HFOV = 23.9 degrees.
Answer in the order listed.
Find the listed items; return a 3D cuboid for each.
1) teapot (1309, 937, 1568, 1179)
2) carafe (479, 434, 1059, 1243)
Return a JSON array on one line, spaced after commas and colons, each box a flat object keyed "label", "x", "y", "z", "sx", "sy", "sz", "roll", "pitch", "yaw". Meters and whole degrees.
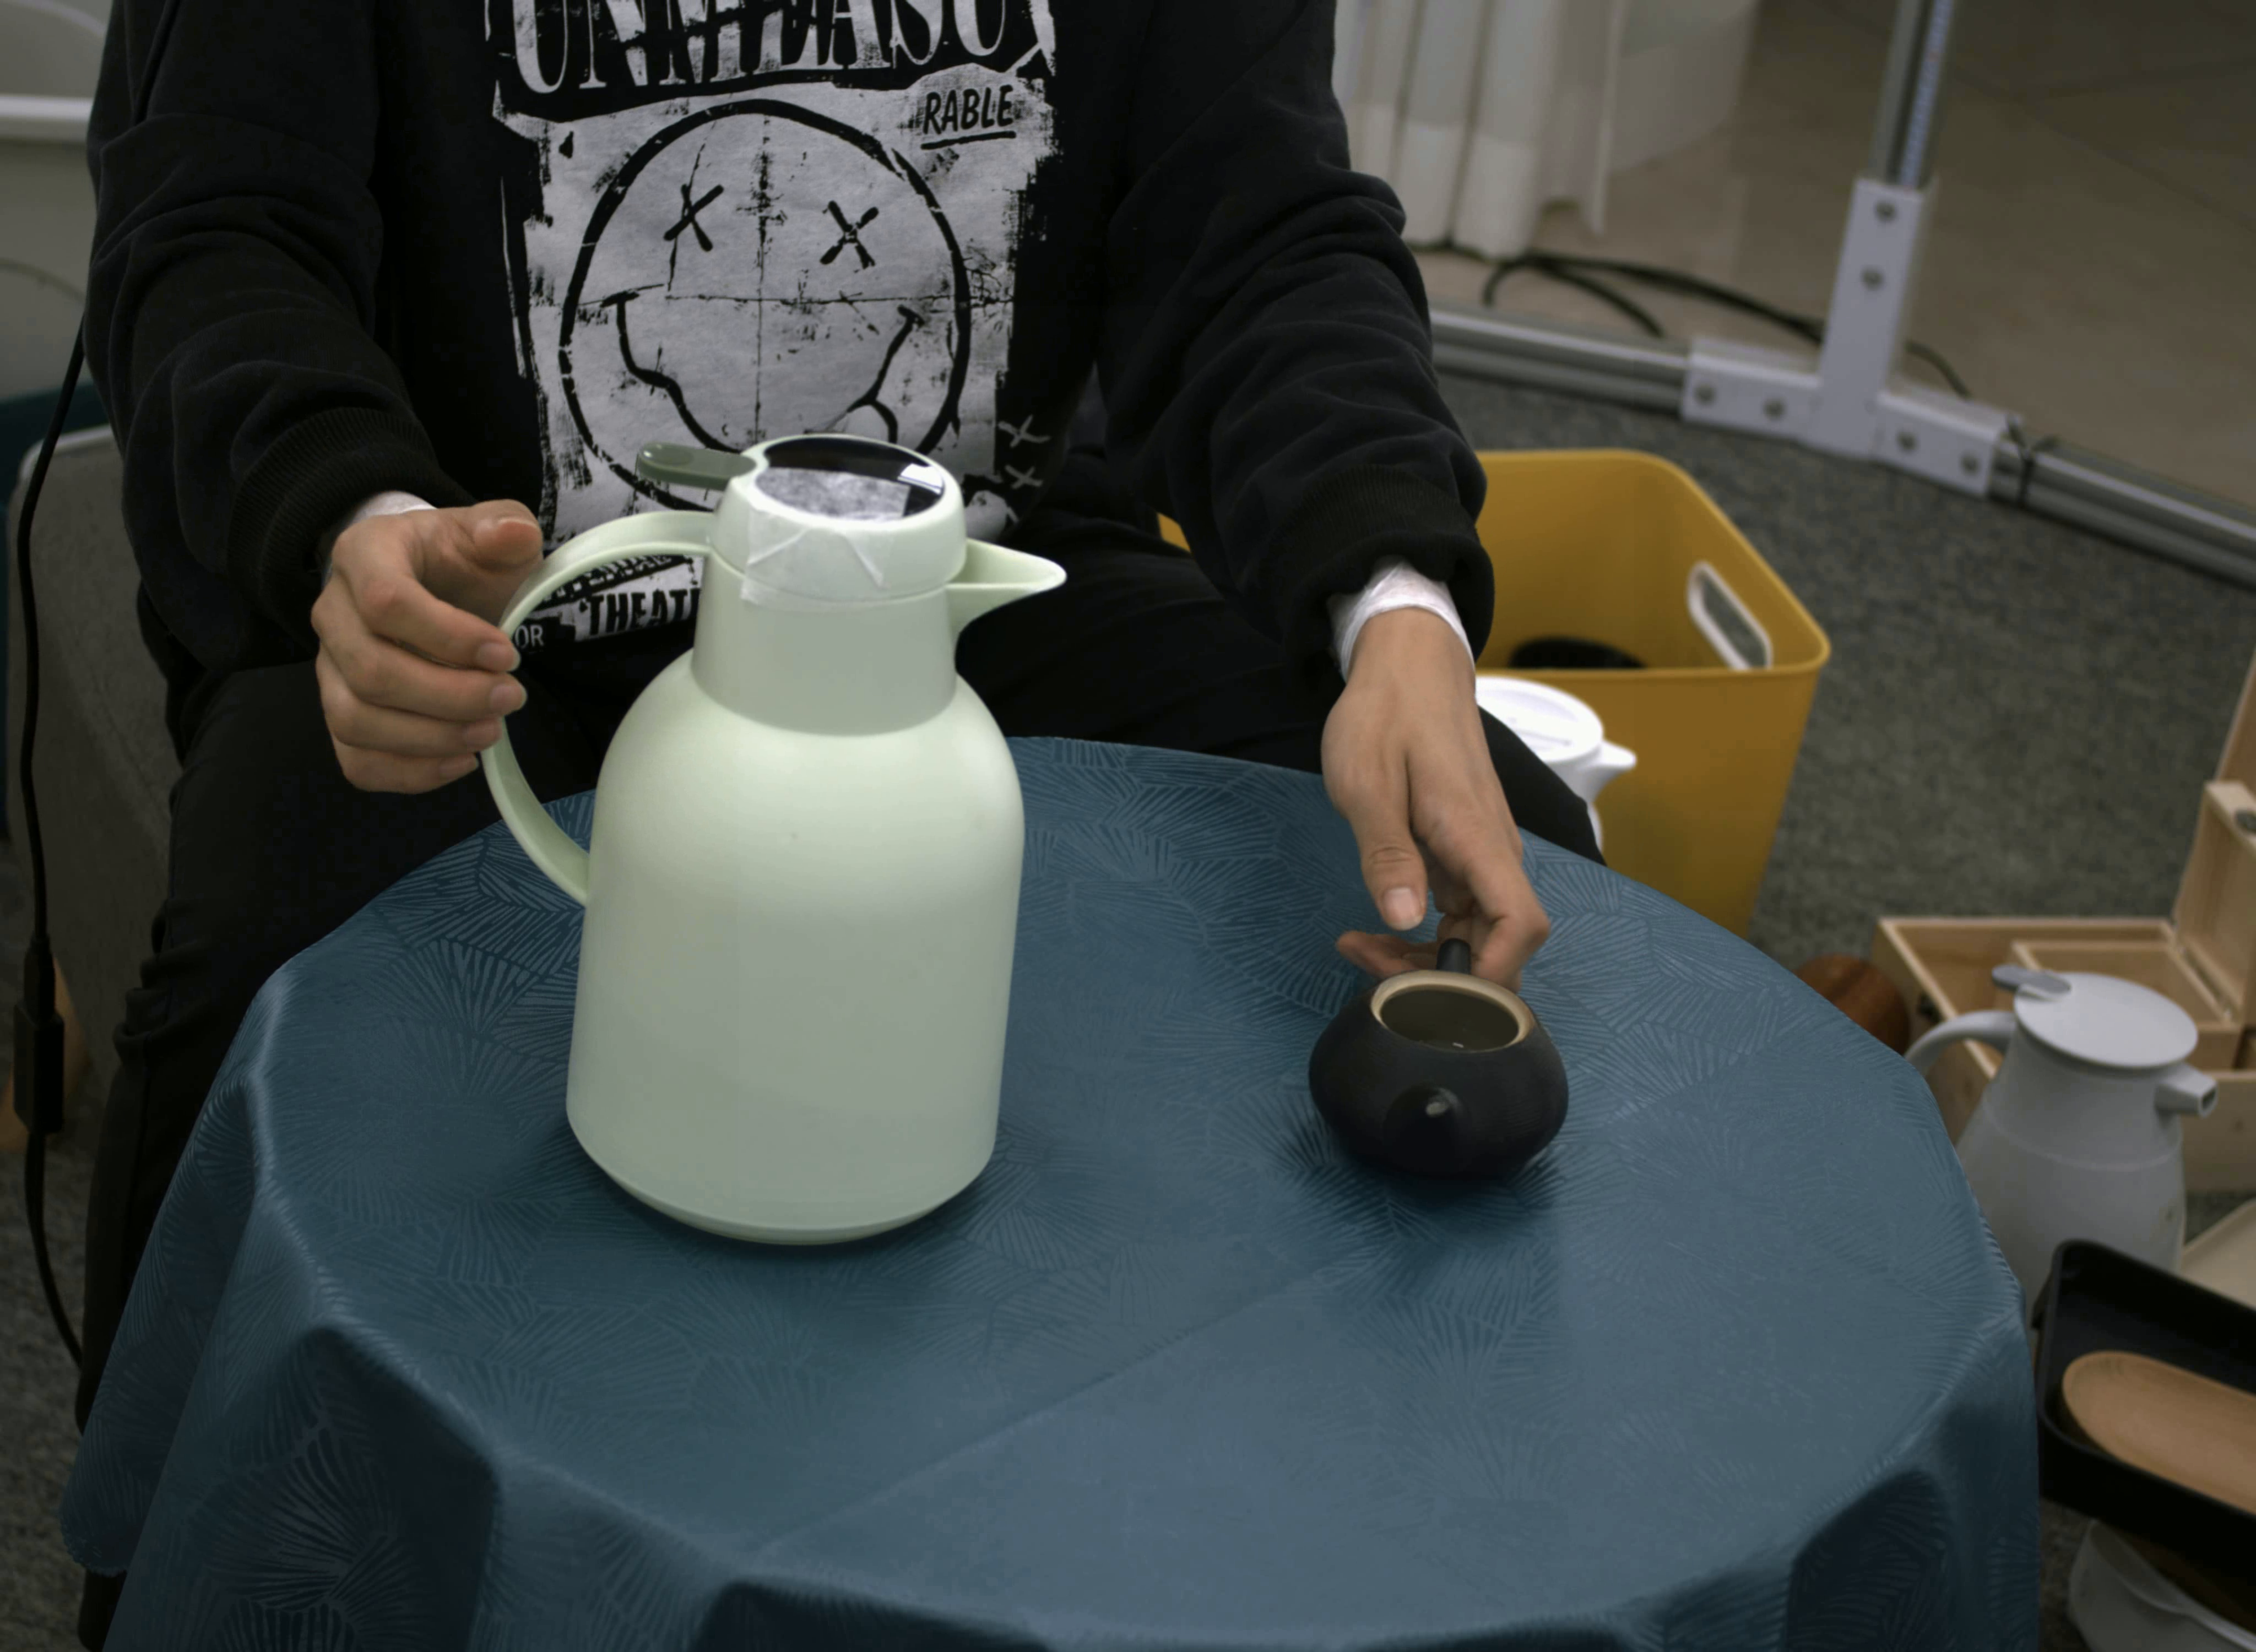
[{"label": "teapot", "x": 0.108, "y": 0.086, "z": 1.844, "sx": 0.091, "sy": 0.053, "sz": 0.134, "roll": 10, "pitch": 27, "yaw": 3}, {"label": "carafe", "x": -0.119, "y": -0.002, "z": 1.750, "sx": 0.186, "sy": 0.256, "sz": 0.145, "roll": 4, "pitch": 27, "yaw": 1}]
